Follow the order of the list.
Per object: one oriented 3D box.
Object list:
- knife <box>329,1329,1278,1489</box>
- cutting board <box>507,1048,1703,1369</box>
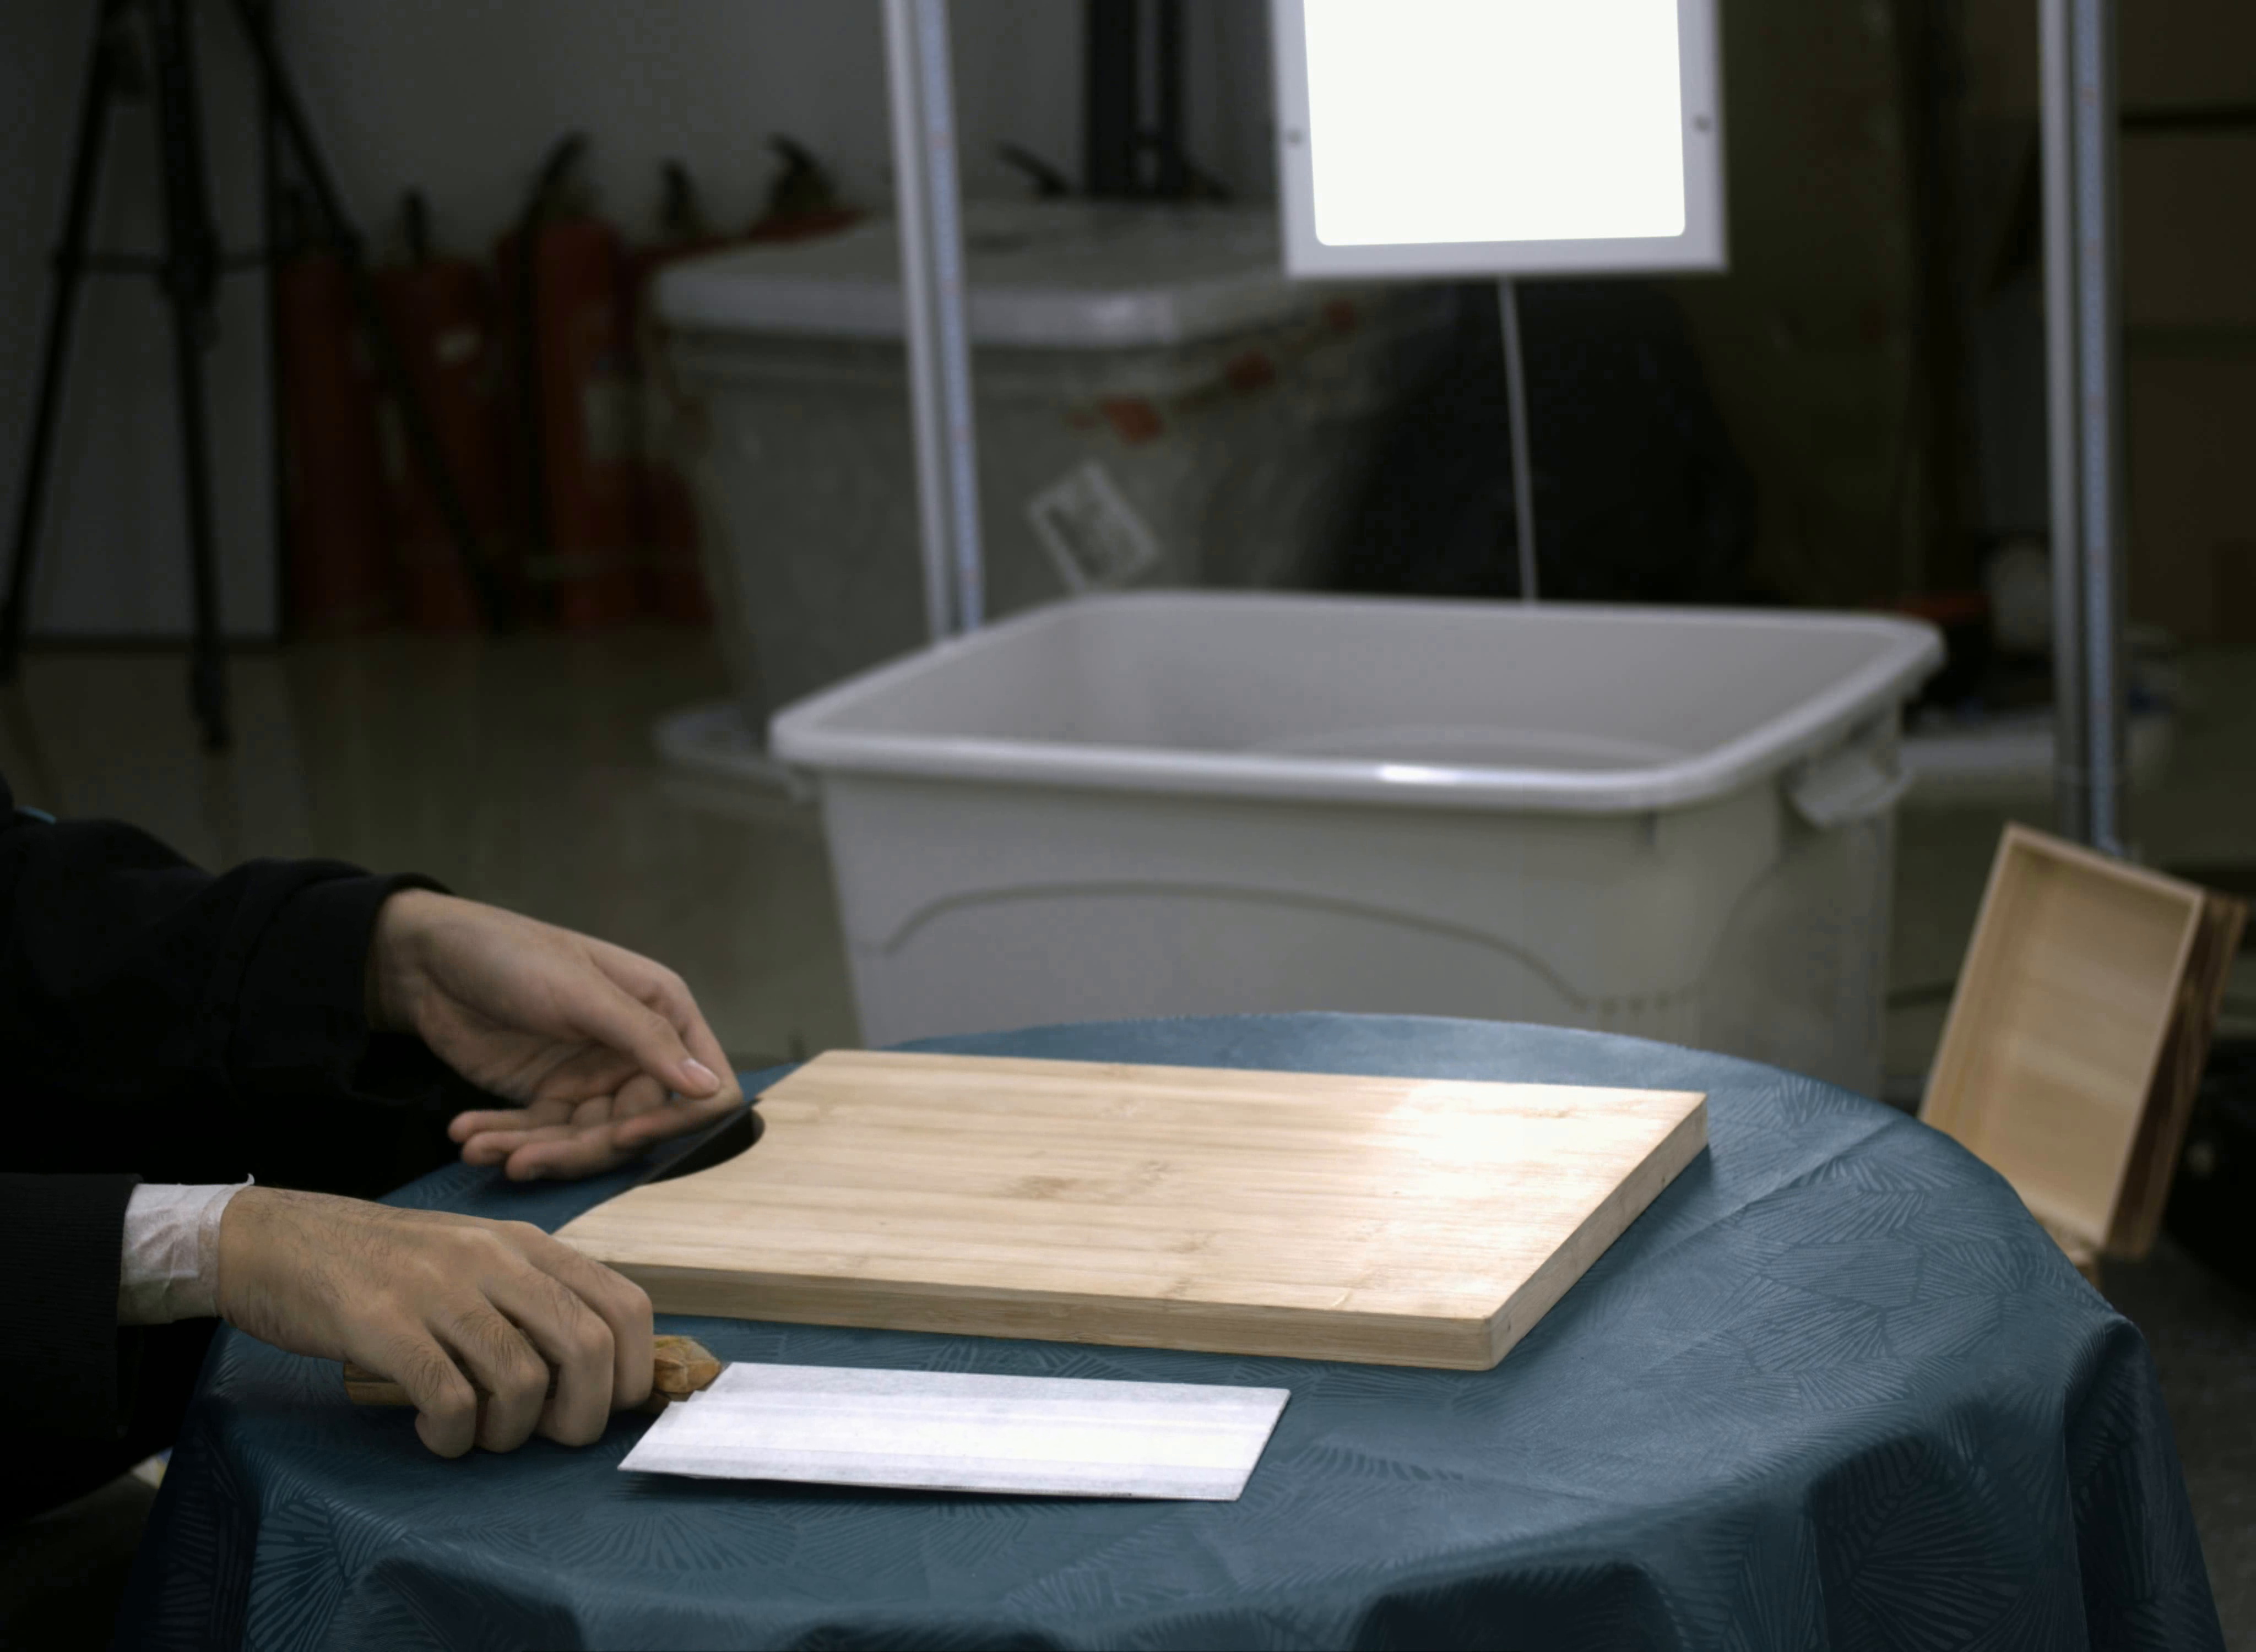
[{"bbox_3d":[-0.107,0.181,1.683,0.308,0.021,0.091,1,16,15],"label":"knife"},{"bbox_3d":[-0.004,0.126,1.867,0.354,0.023,0.246,1,15,24],"label":"cutting board"}]
